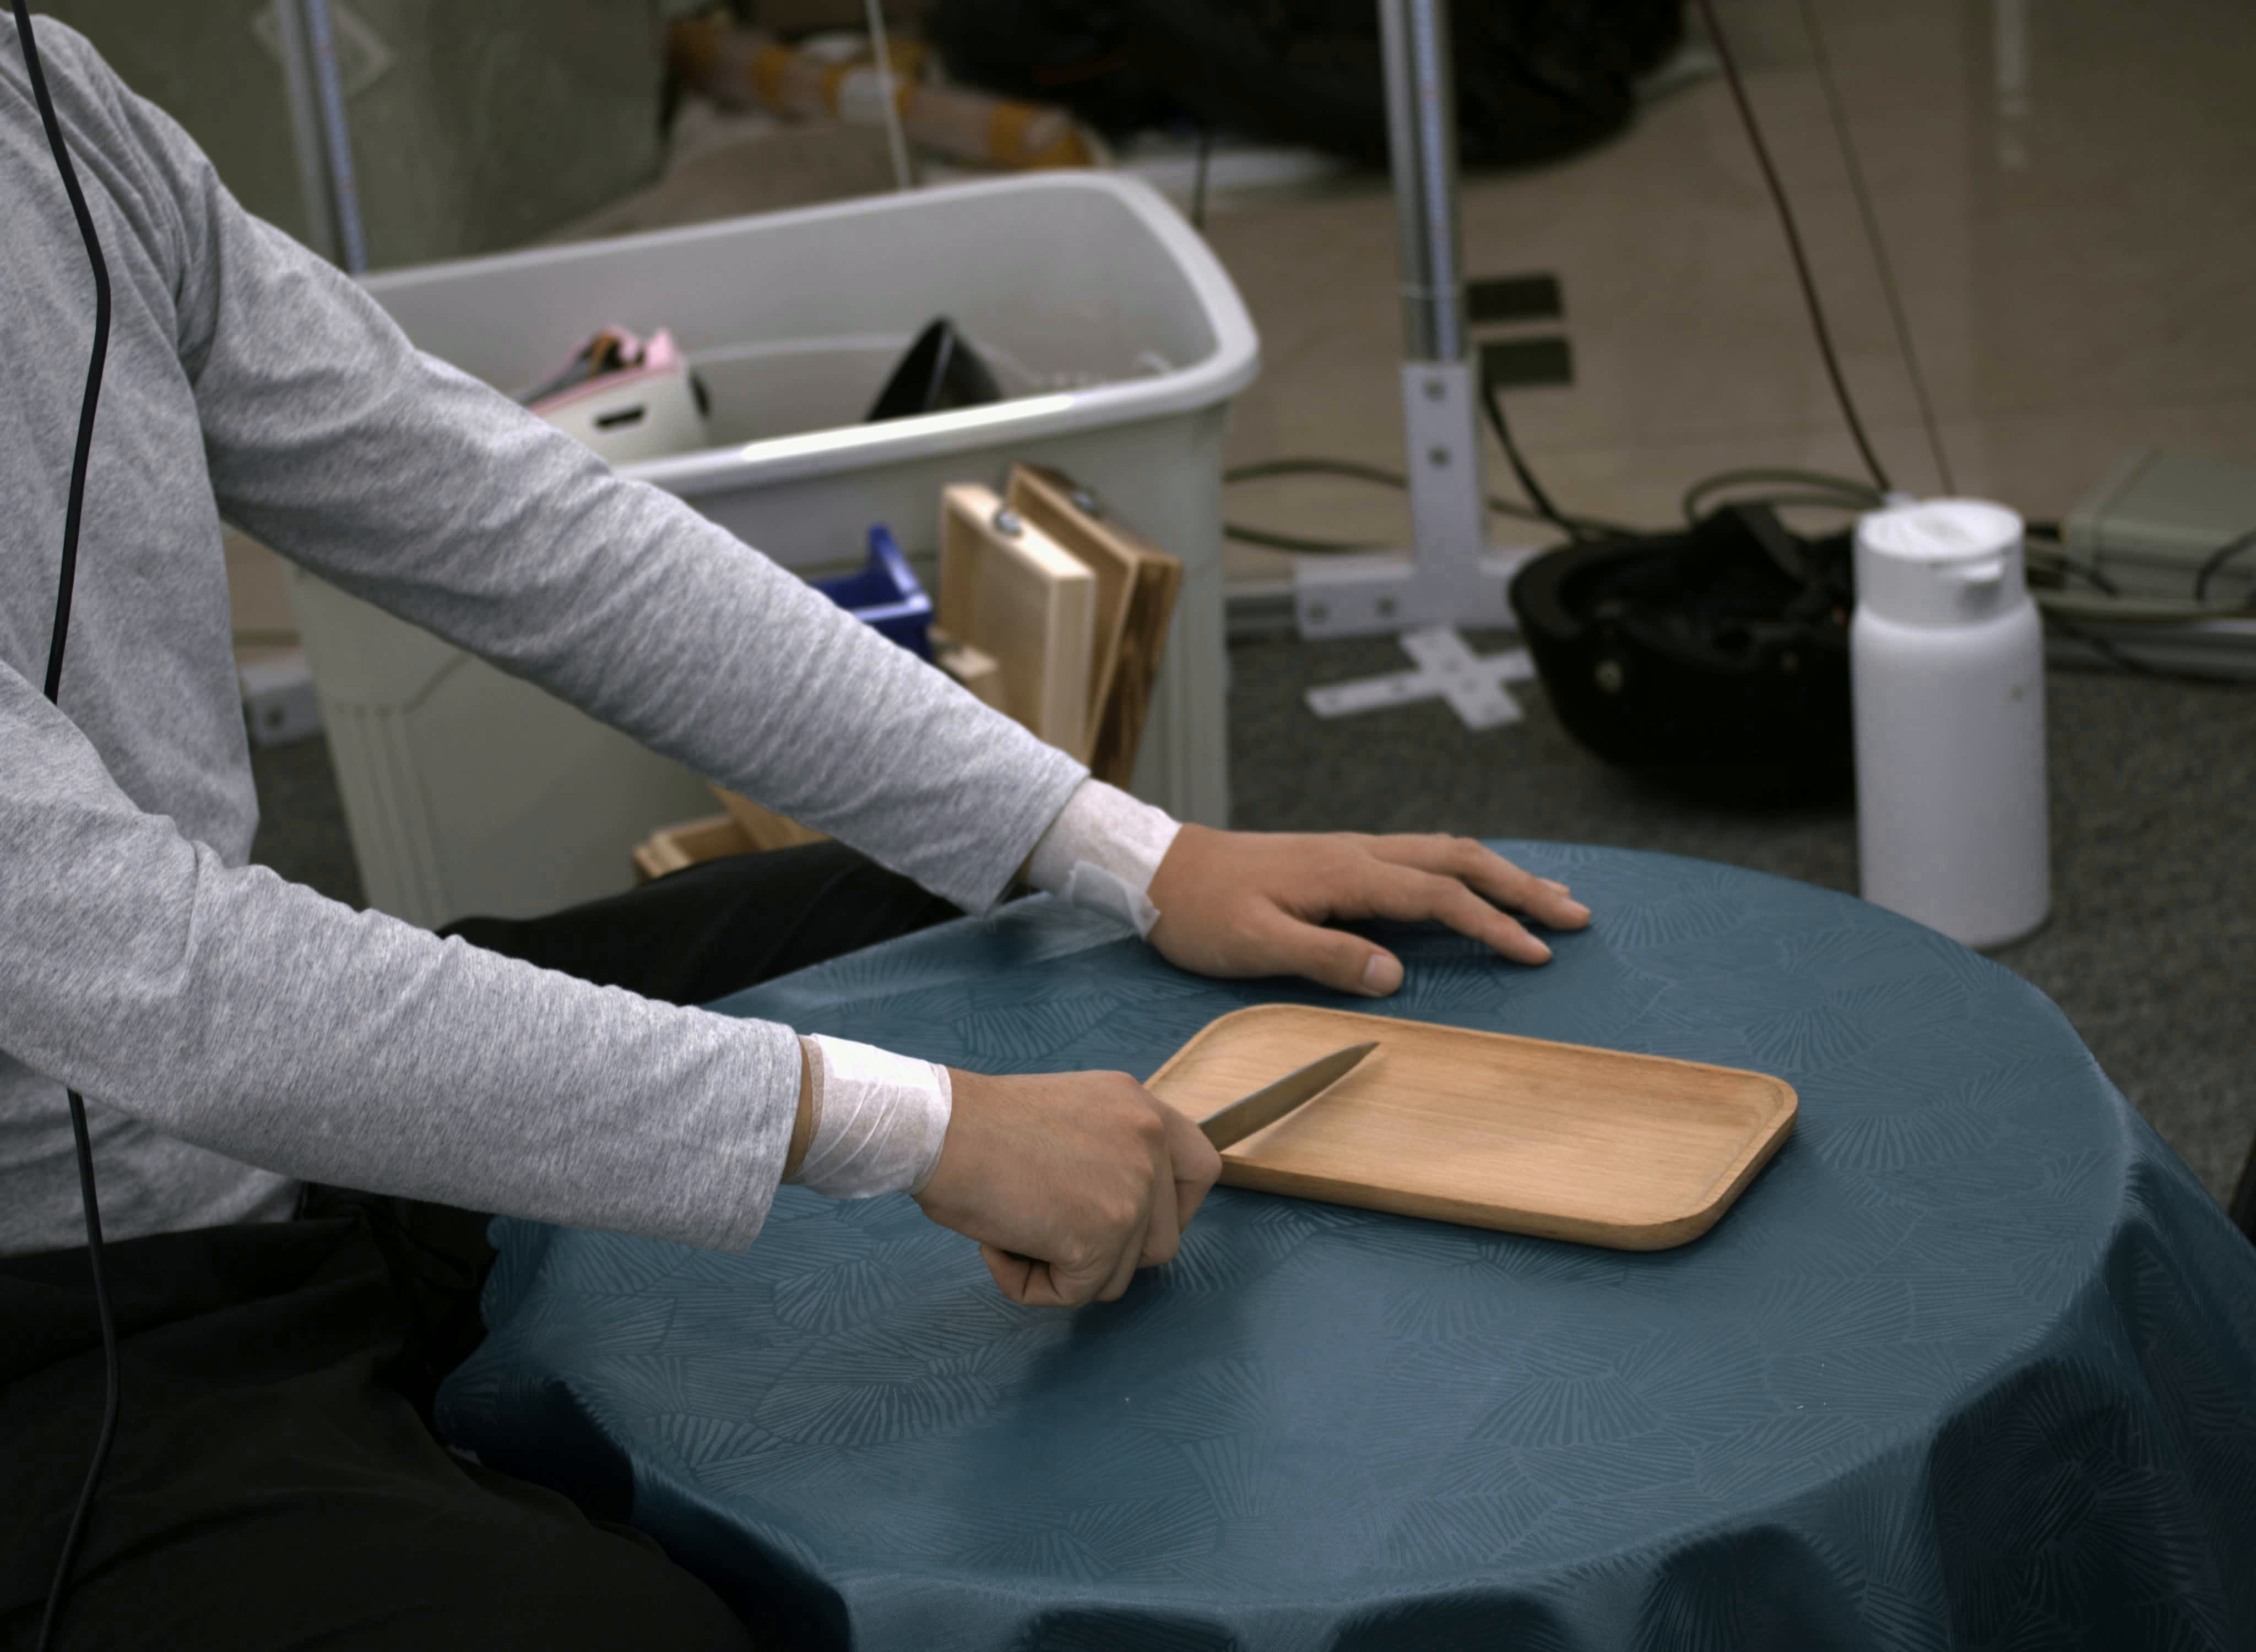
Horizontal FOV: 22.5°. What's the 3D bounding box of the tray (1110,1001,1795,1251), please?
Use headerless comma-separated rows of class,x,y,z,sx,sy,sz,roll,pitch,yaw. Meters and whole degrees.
tray,0.122,0.113,2.158,0.249,0.023,0.129,7,25,30

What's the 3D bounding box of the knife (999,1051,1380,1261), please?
knife,0.028,0.117,2.124,0.016,0.025,0.236,30,31,27
